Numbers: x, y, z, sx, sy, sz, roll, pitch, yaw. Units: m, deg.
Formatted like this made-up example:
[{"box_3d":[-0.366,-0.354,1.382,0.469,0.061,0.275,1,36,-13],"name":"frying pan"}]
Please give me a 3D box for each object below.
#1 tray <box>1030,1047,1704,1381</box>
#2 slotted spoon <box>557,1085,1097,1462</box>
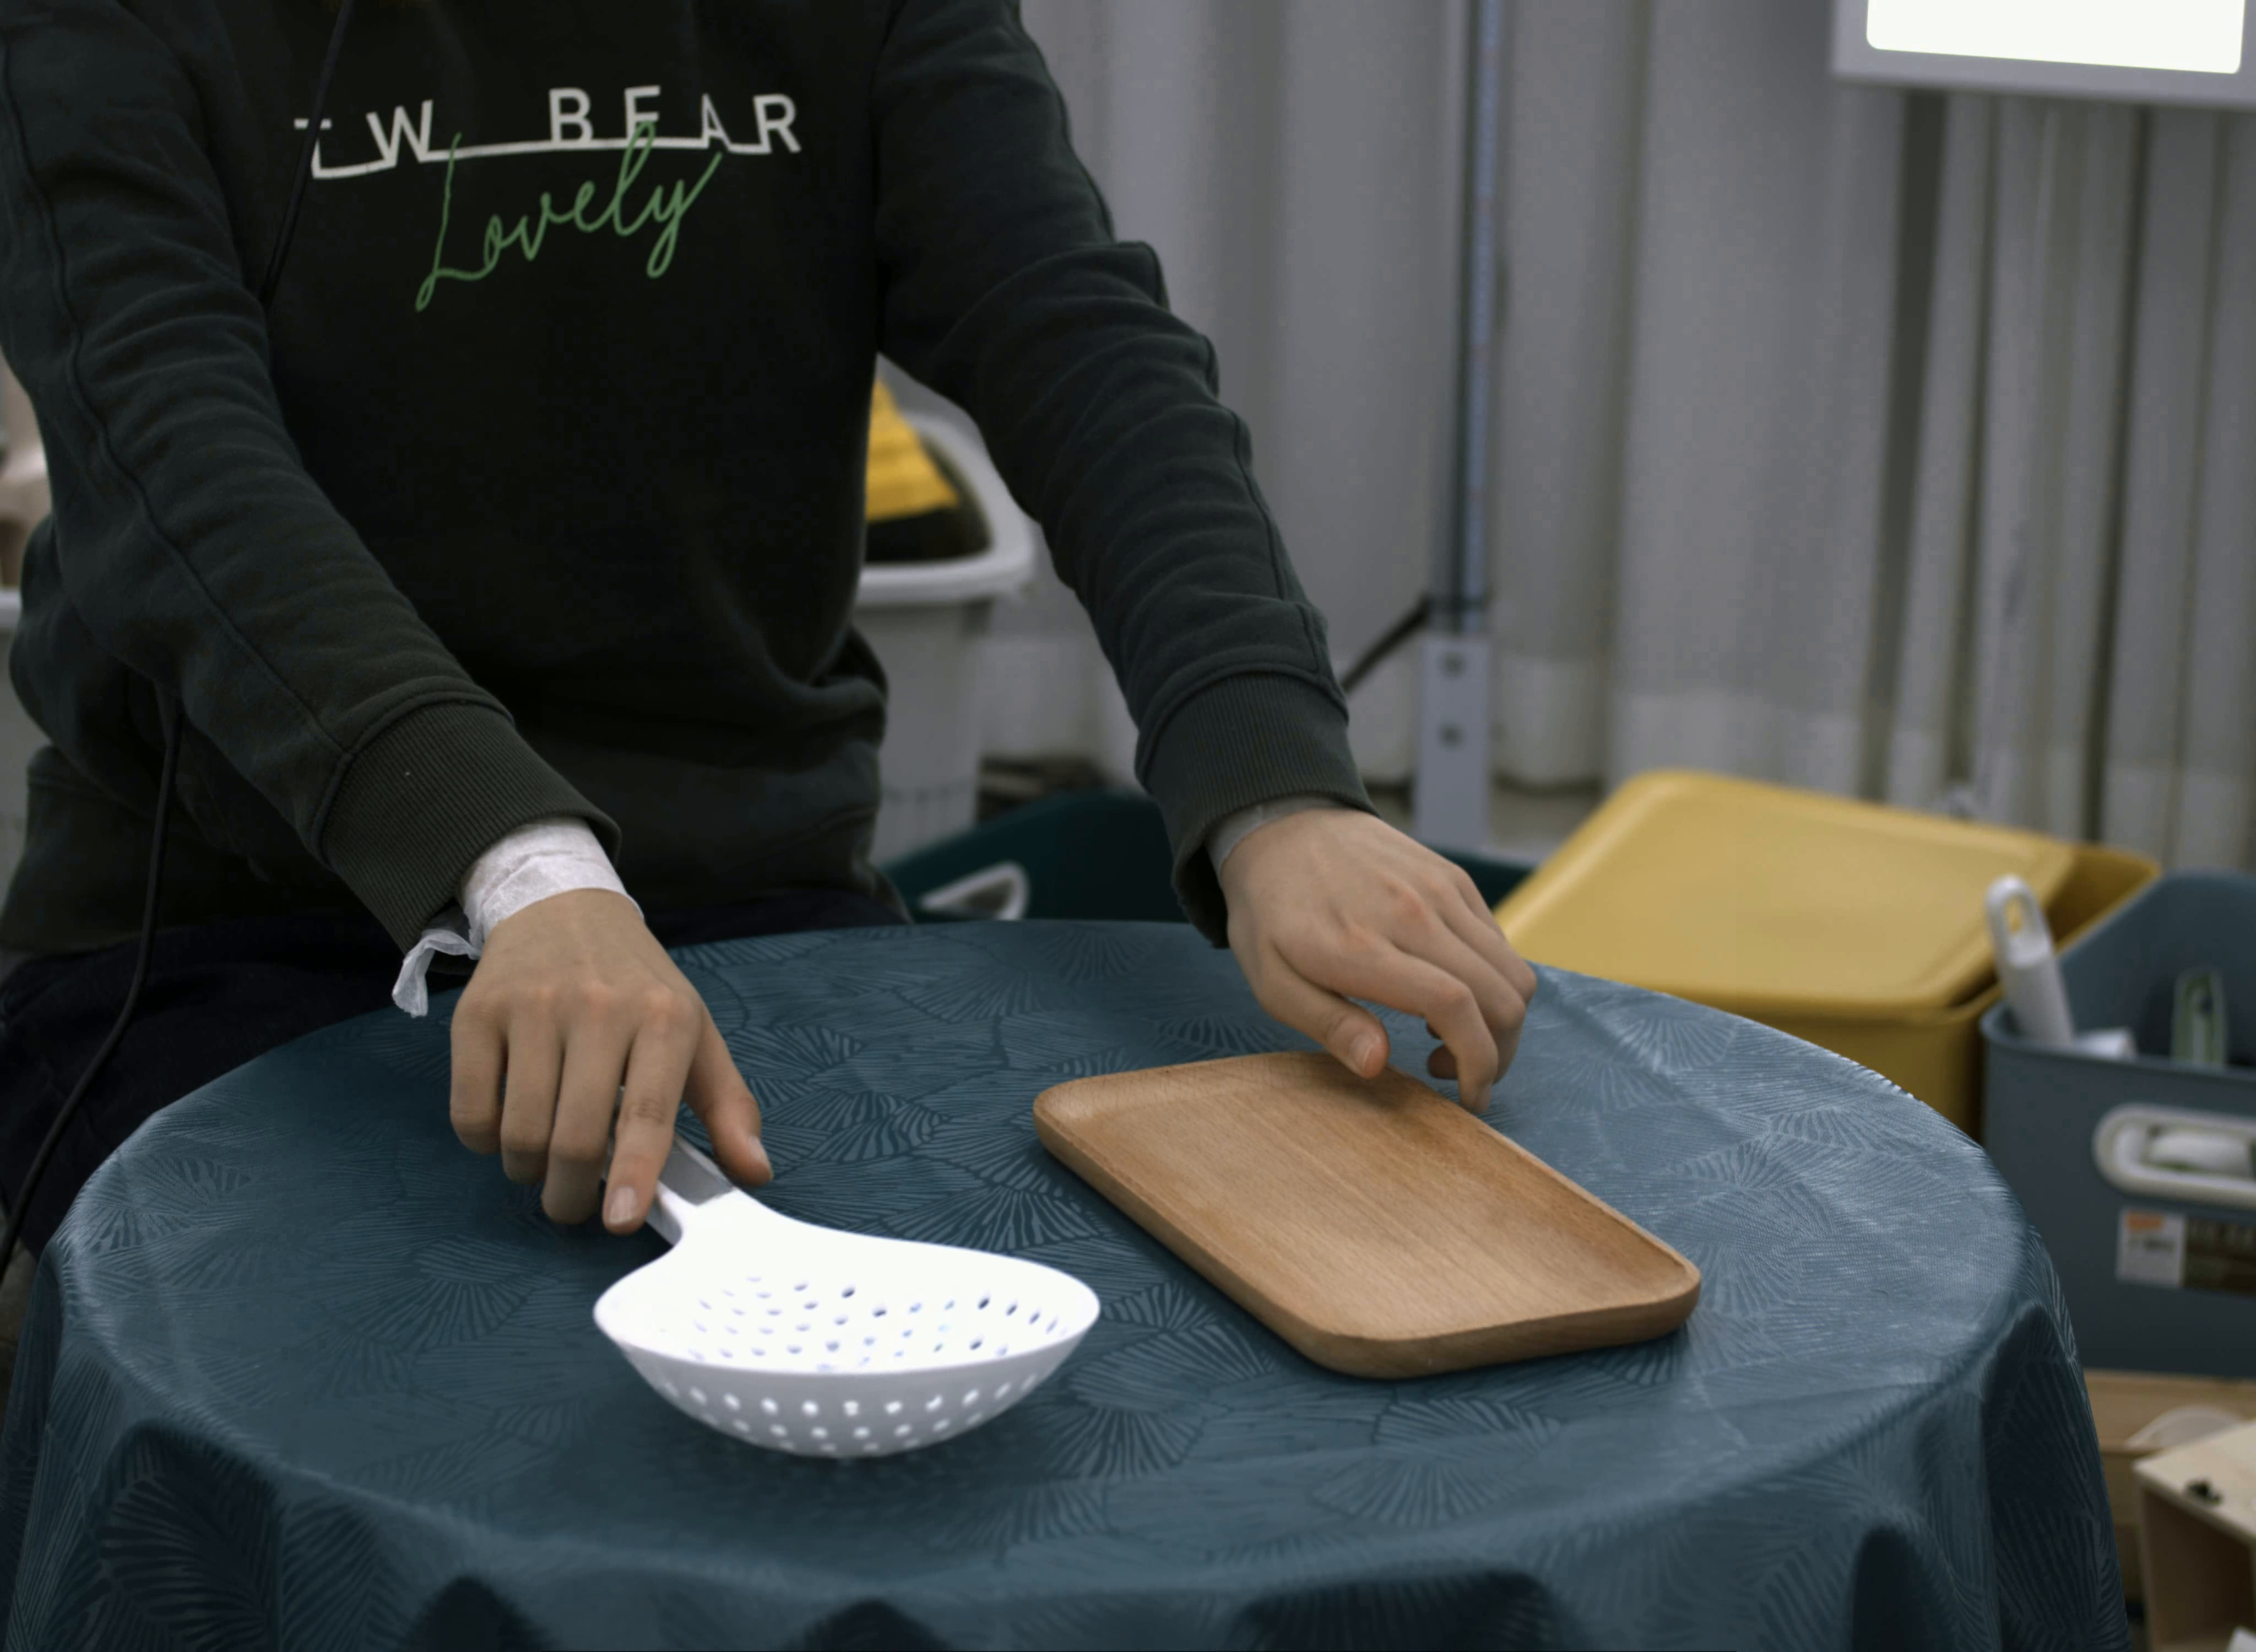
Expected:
[{"box_3d":[0.067,0.114,1.593,0.131,0.023,0.248,-4,15,-23],"name":"tray"},{"box_3d":[-0.113,0.119,1.515,0.136,0.046,0.346,-2,15,-20],"name":"slotted spoon"}]
